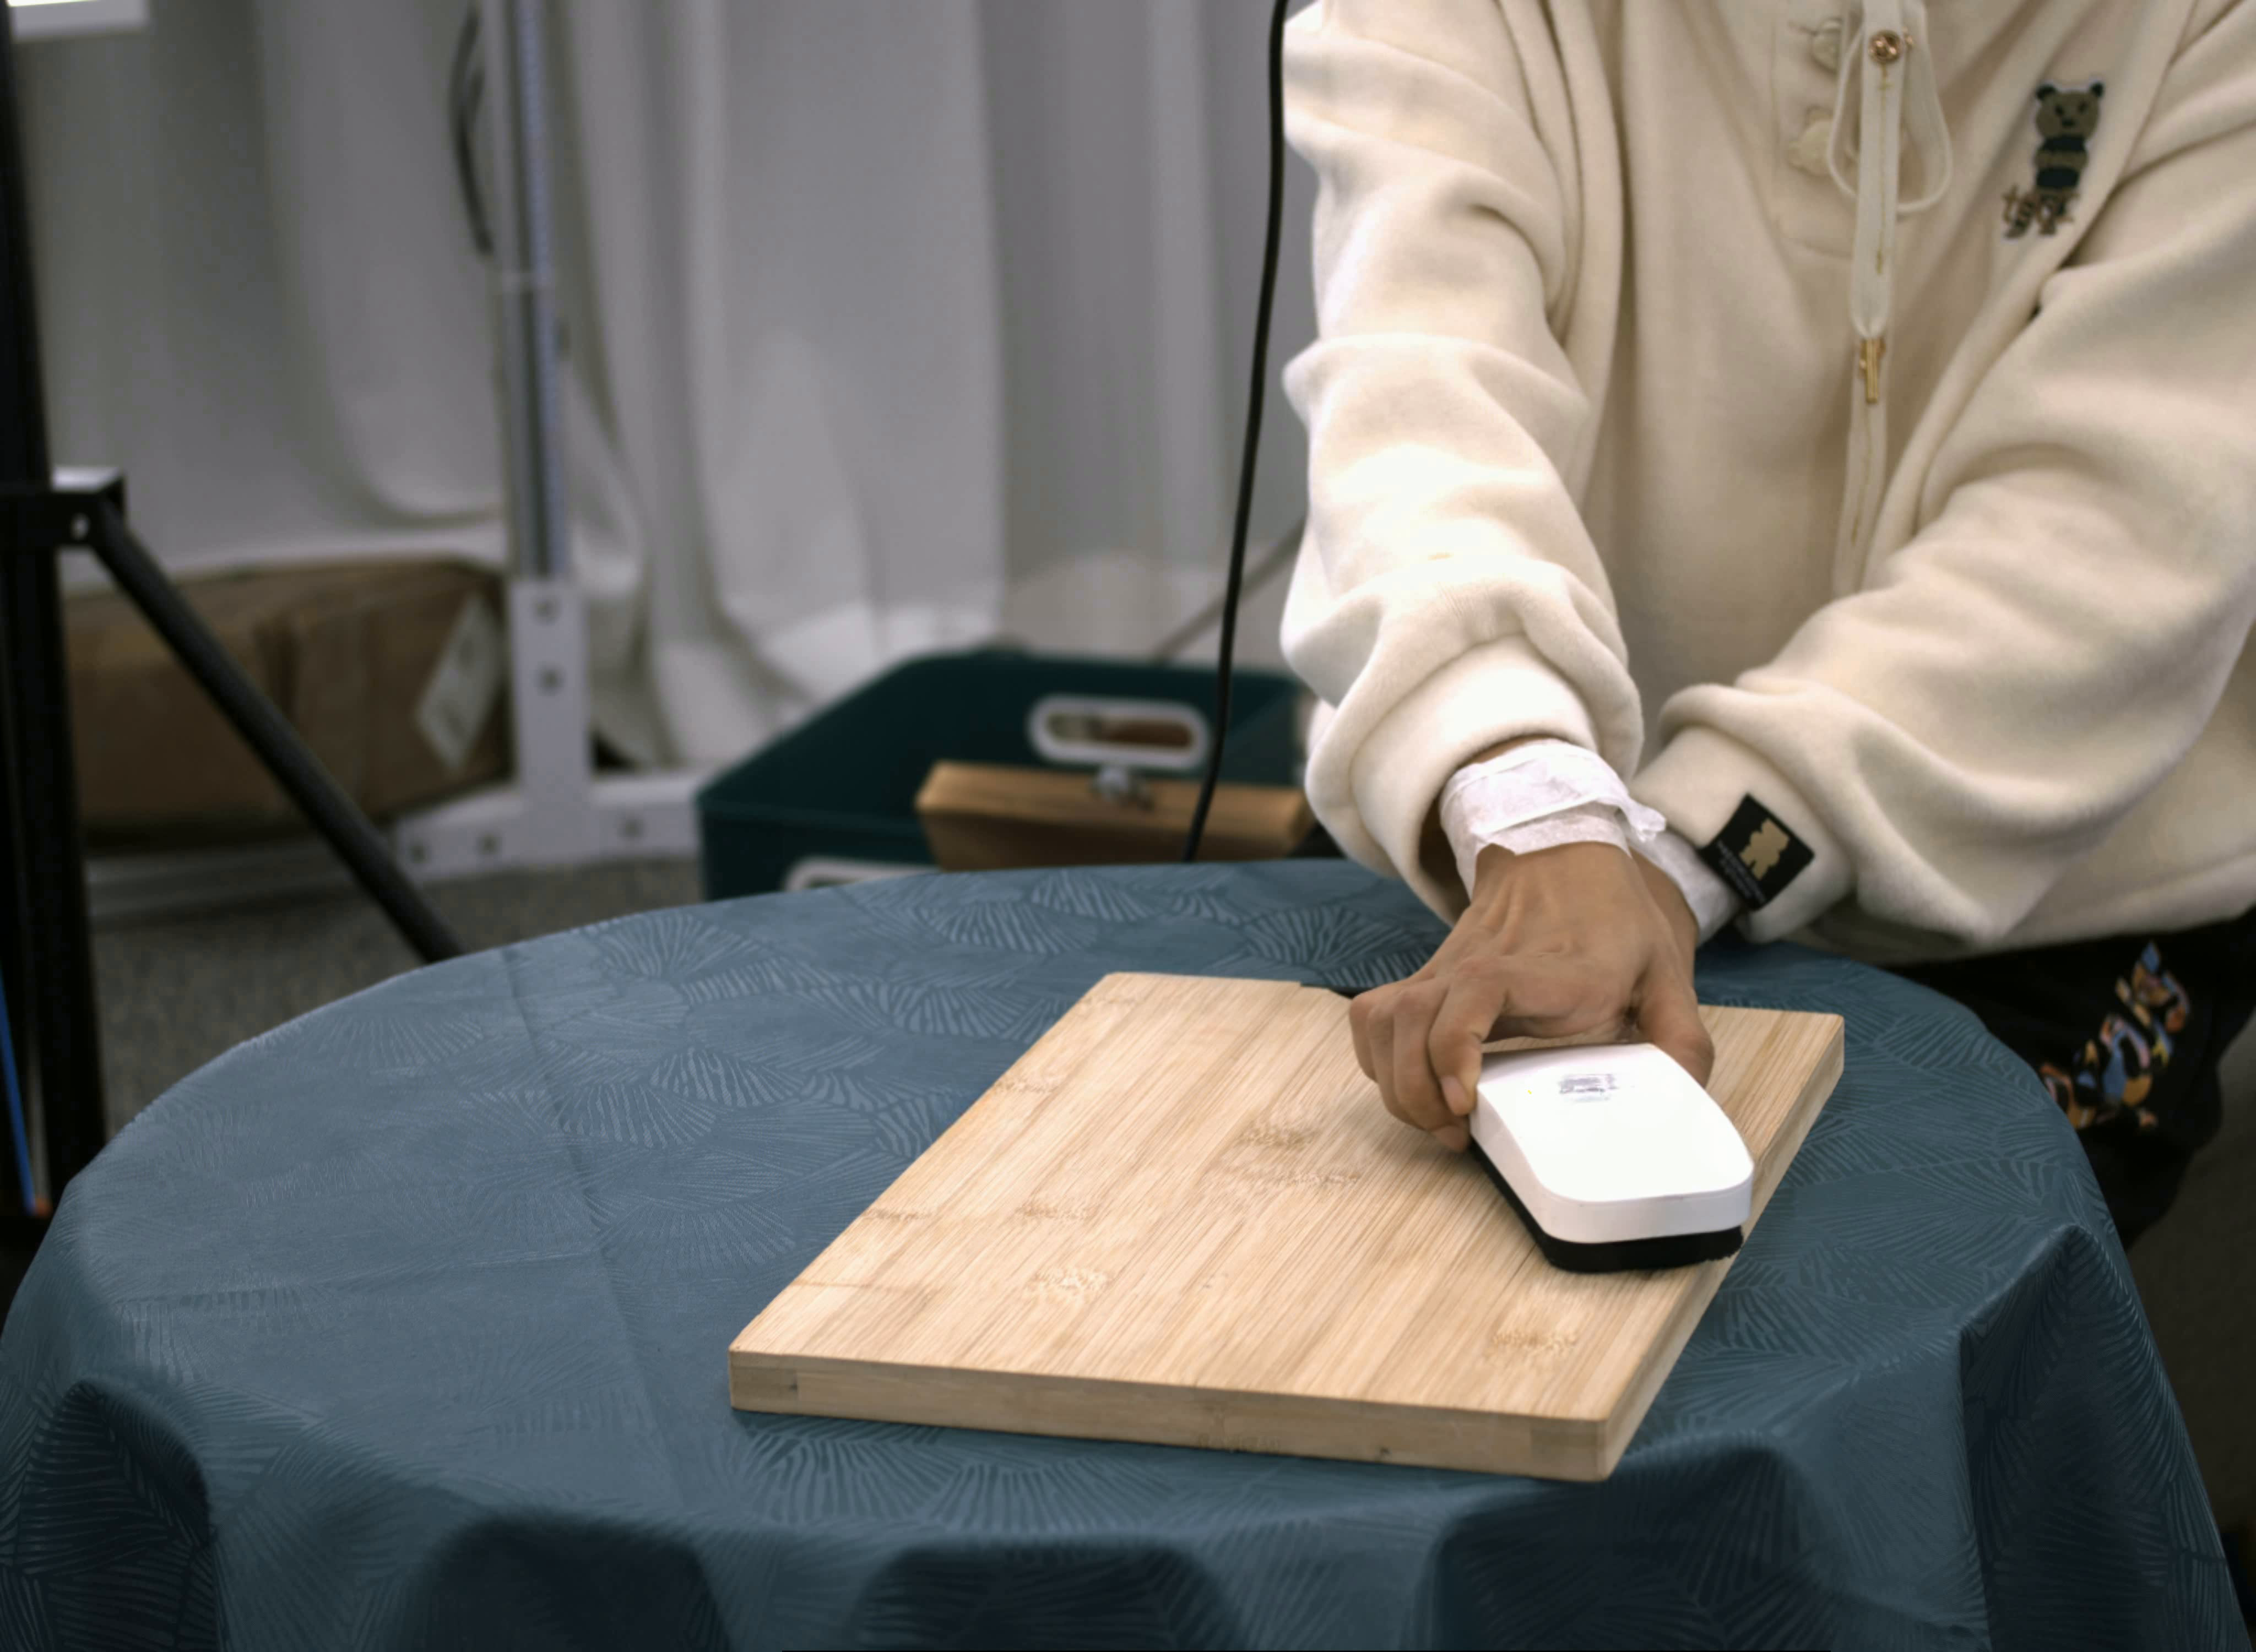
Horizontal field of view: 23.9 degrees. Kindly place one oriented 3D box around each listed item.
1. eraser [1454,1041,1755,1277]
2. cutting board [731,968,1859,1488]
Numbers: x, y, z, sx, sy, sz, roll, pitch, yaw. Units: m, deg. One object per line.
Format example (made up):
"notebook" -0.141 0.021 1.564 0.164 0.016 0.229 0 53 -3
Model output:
"eraser" 0.133 0.089 1.482 0.063 0.034 0.132 -4 17 -7
"cutting board" 0.060 0.107 1.524 0.253 0.023 0.345 3 17 17
